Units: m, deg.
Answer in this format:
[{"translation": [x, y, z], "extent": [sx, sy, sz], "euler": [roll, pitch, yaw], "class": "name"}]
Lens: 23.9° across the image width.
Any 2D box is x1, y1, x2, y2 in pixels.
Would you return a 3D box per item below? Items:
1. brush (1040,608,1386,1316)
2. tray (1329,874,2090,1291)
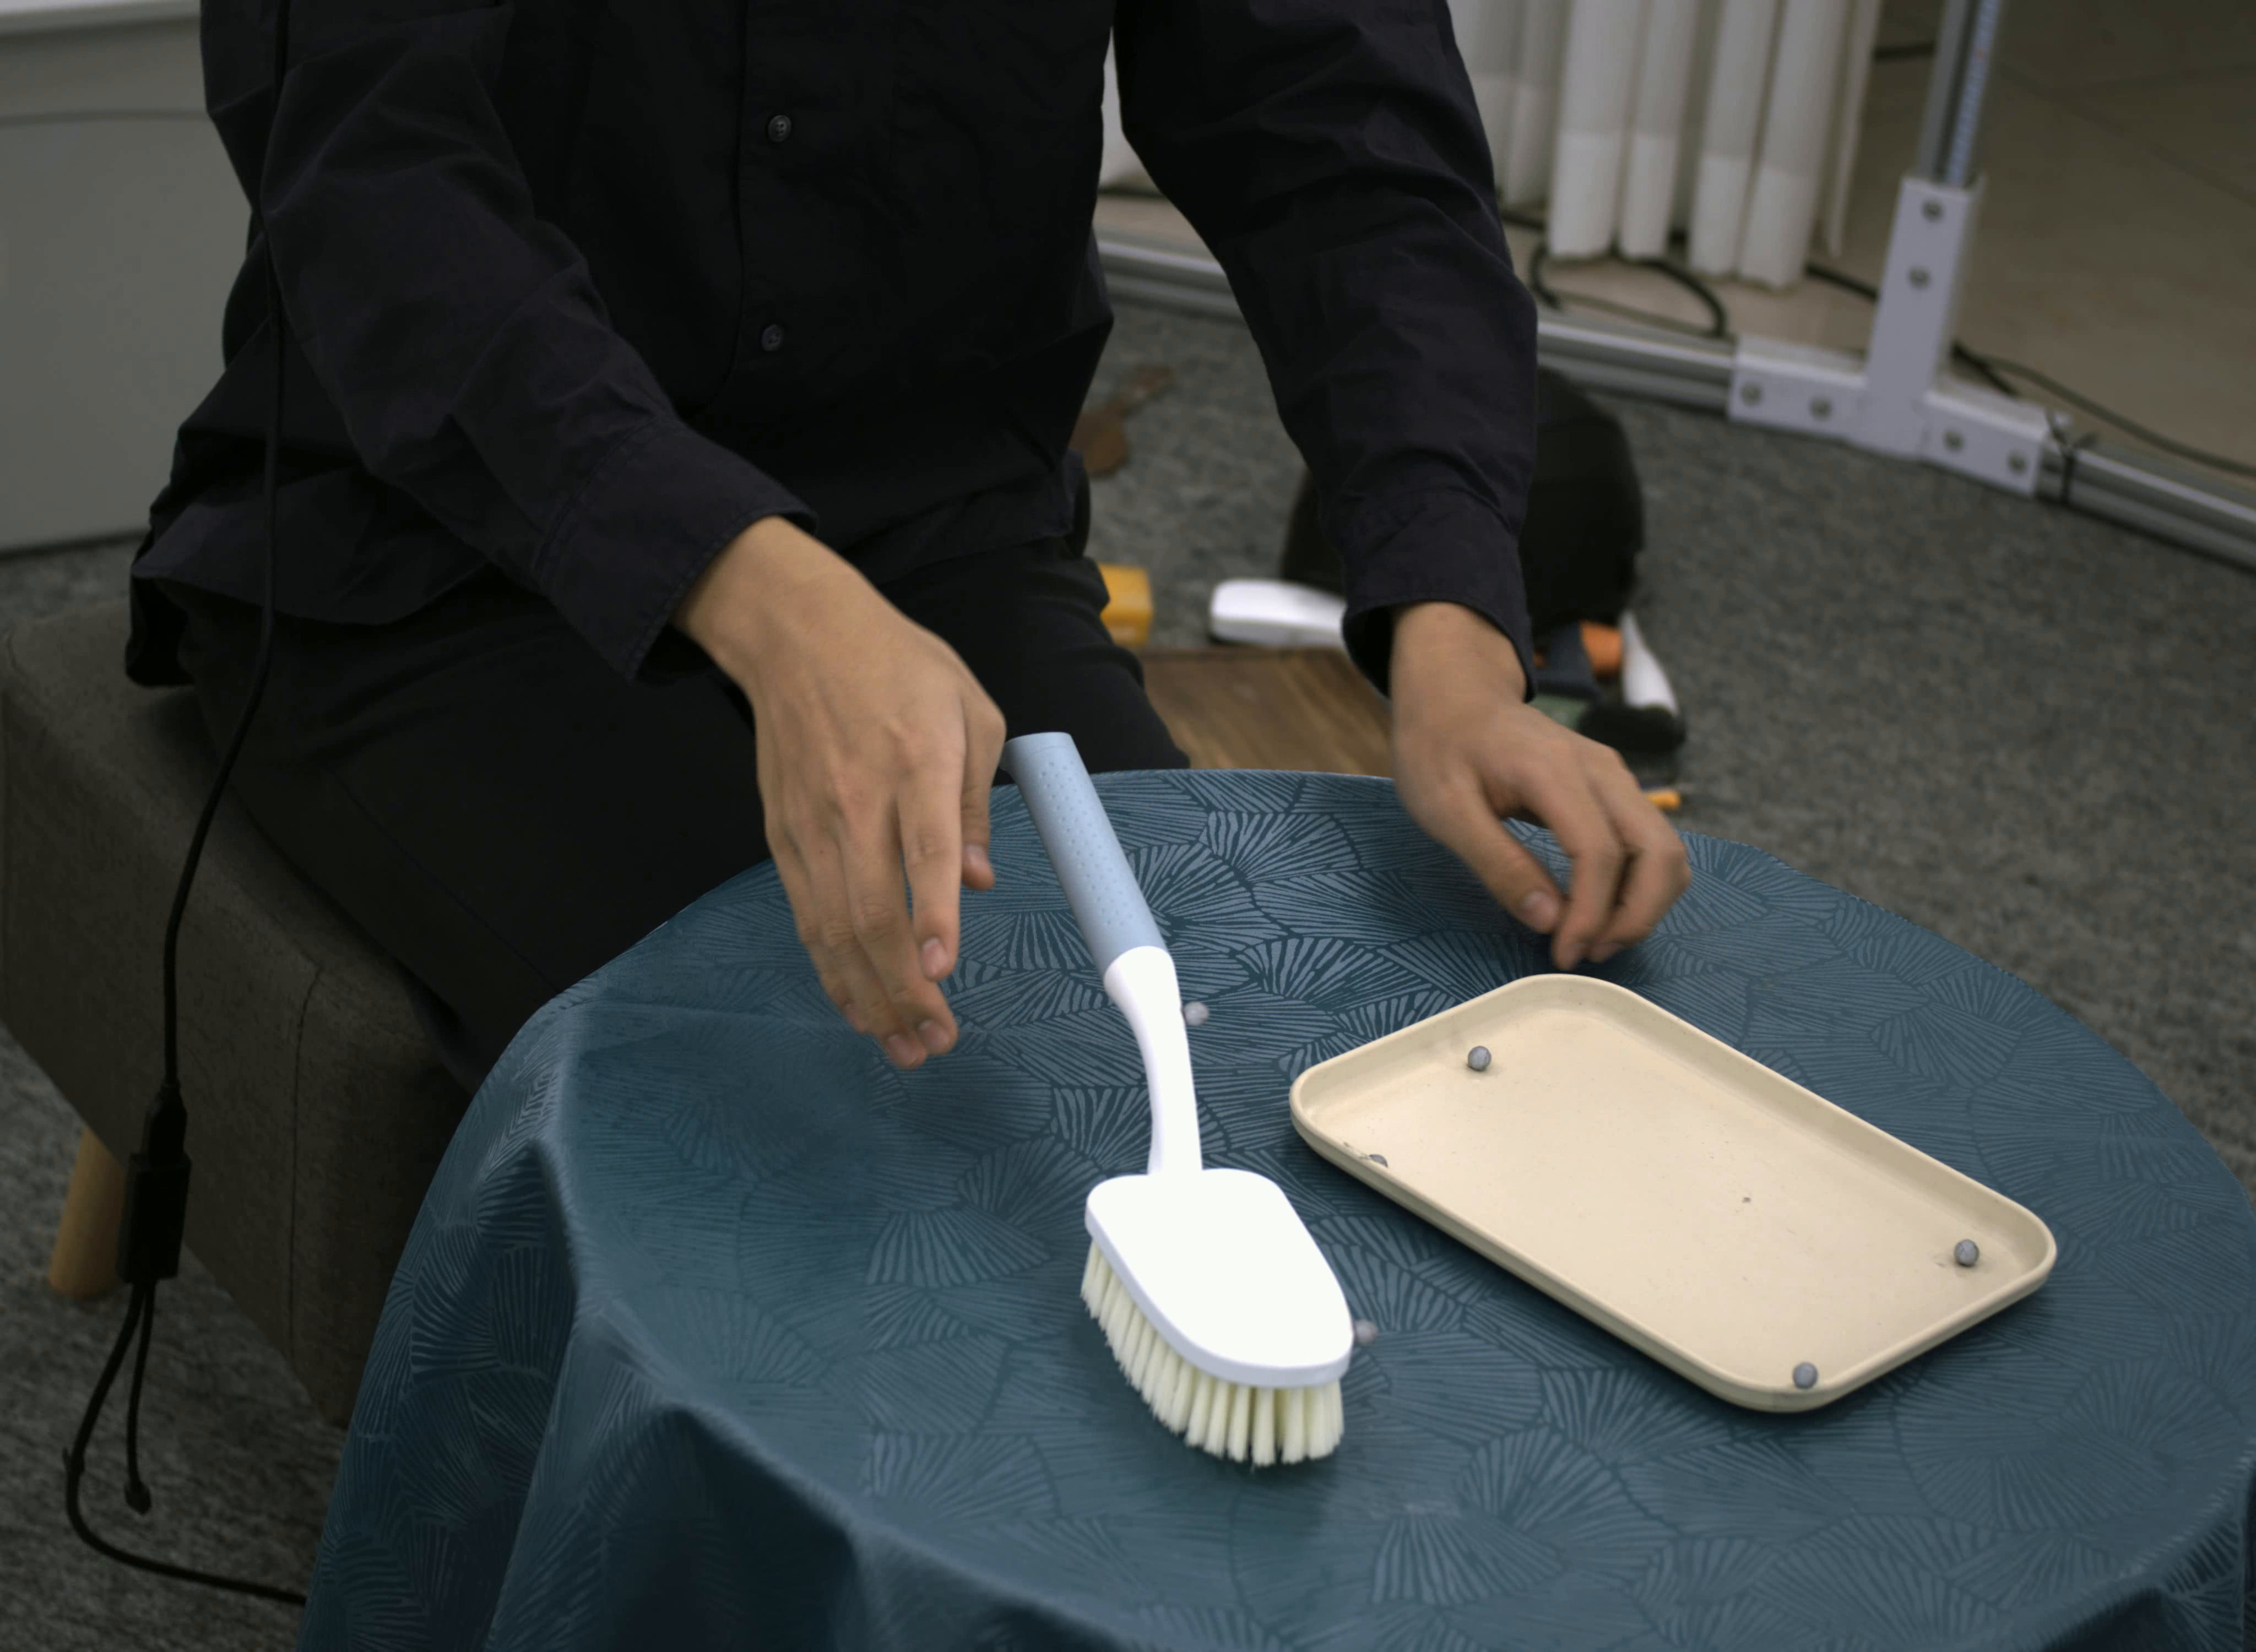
[{"translation": [0.022, 0.053, 1.797], "extent": [0.082, 0.084, 0.328], "euler": [32, 23, -38], "class": "brush"}, {"translation": [0.199, 0.087, 1.844], "extent": [0.170, 0.017, 0.241], "euler": [-19, 37, -41], "class": "tray"}]
